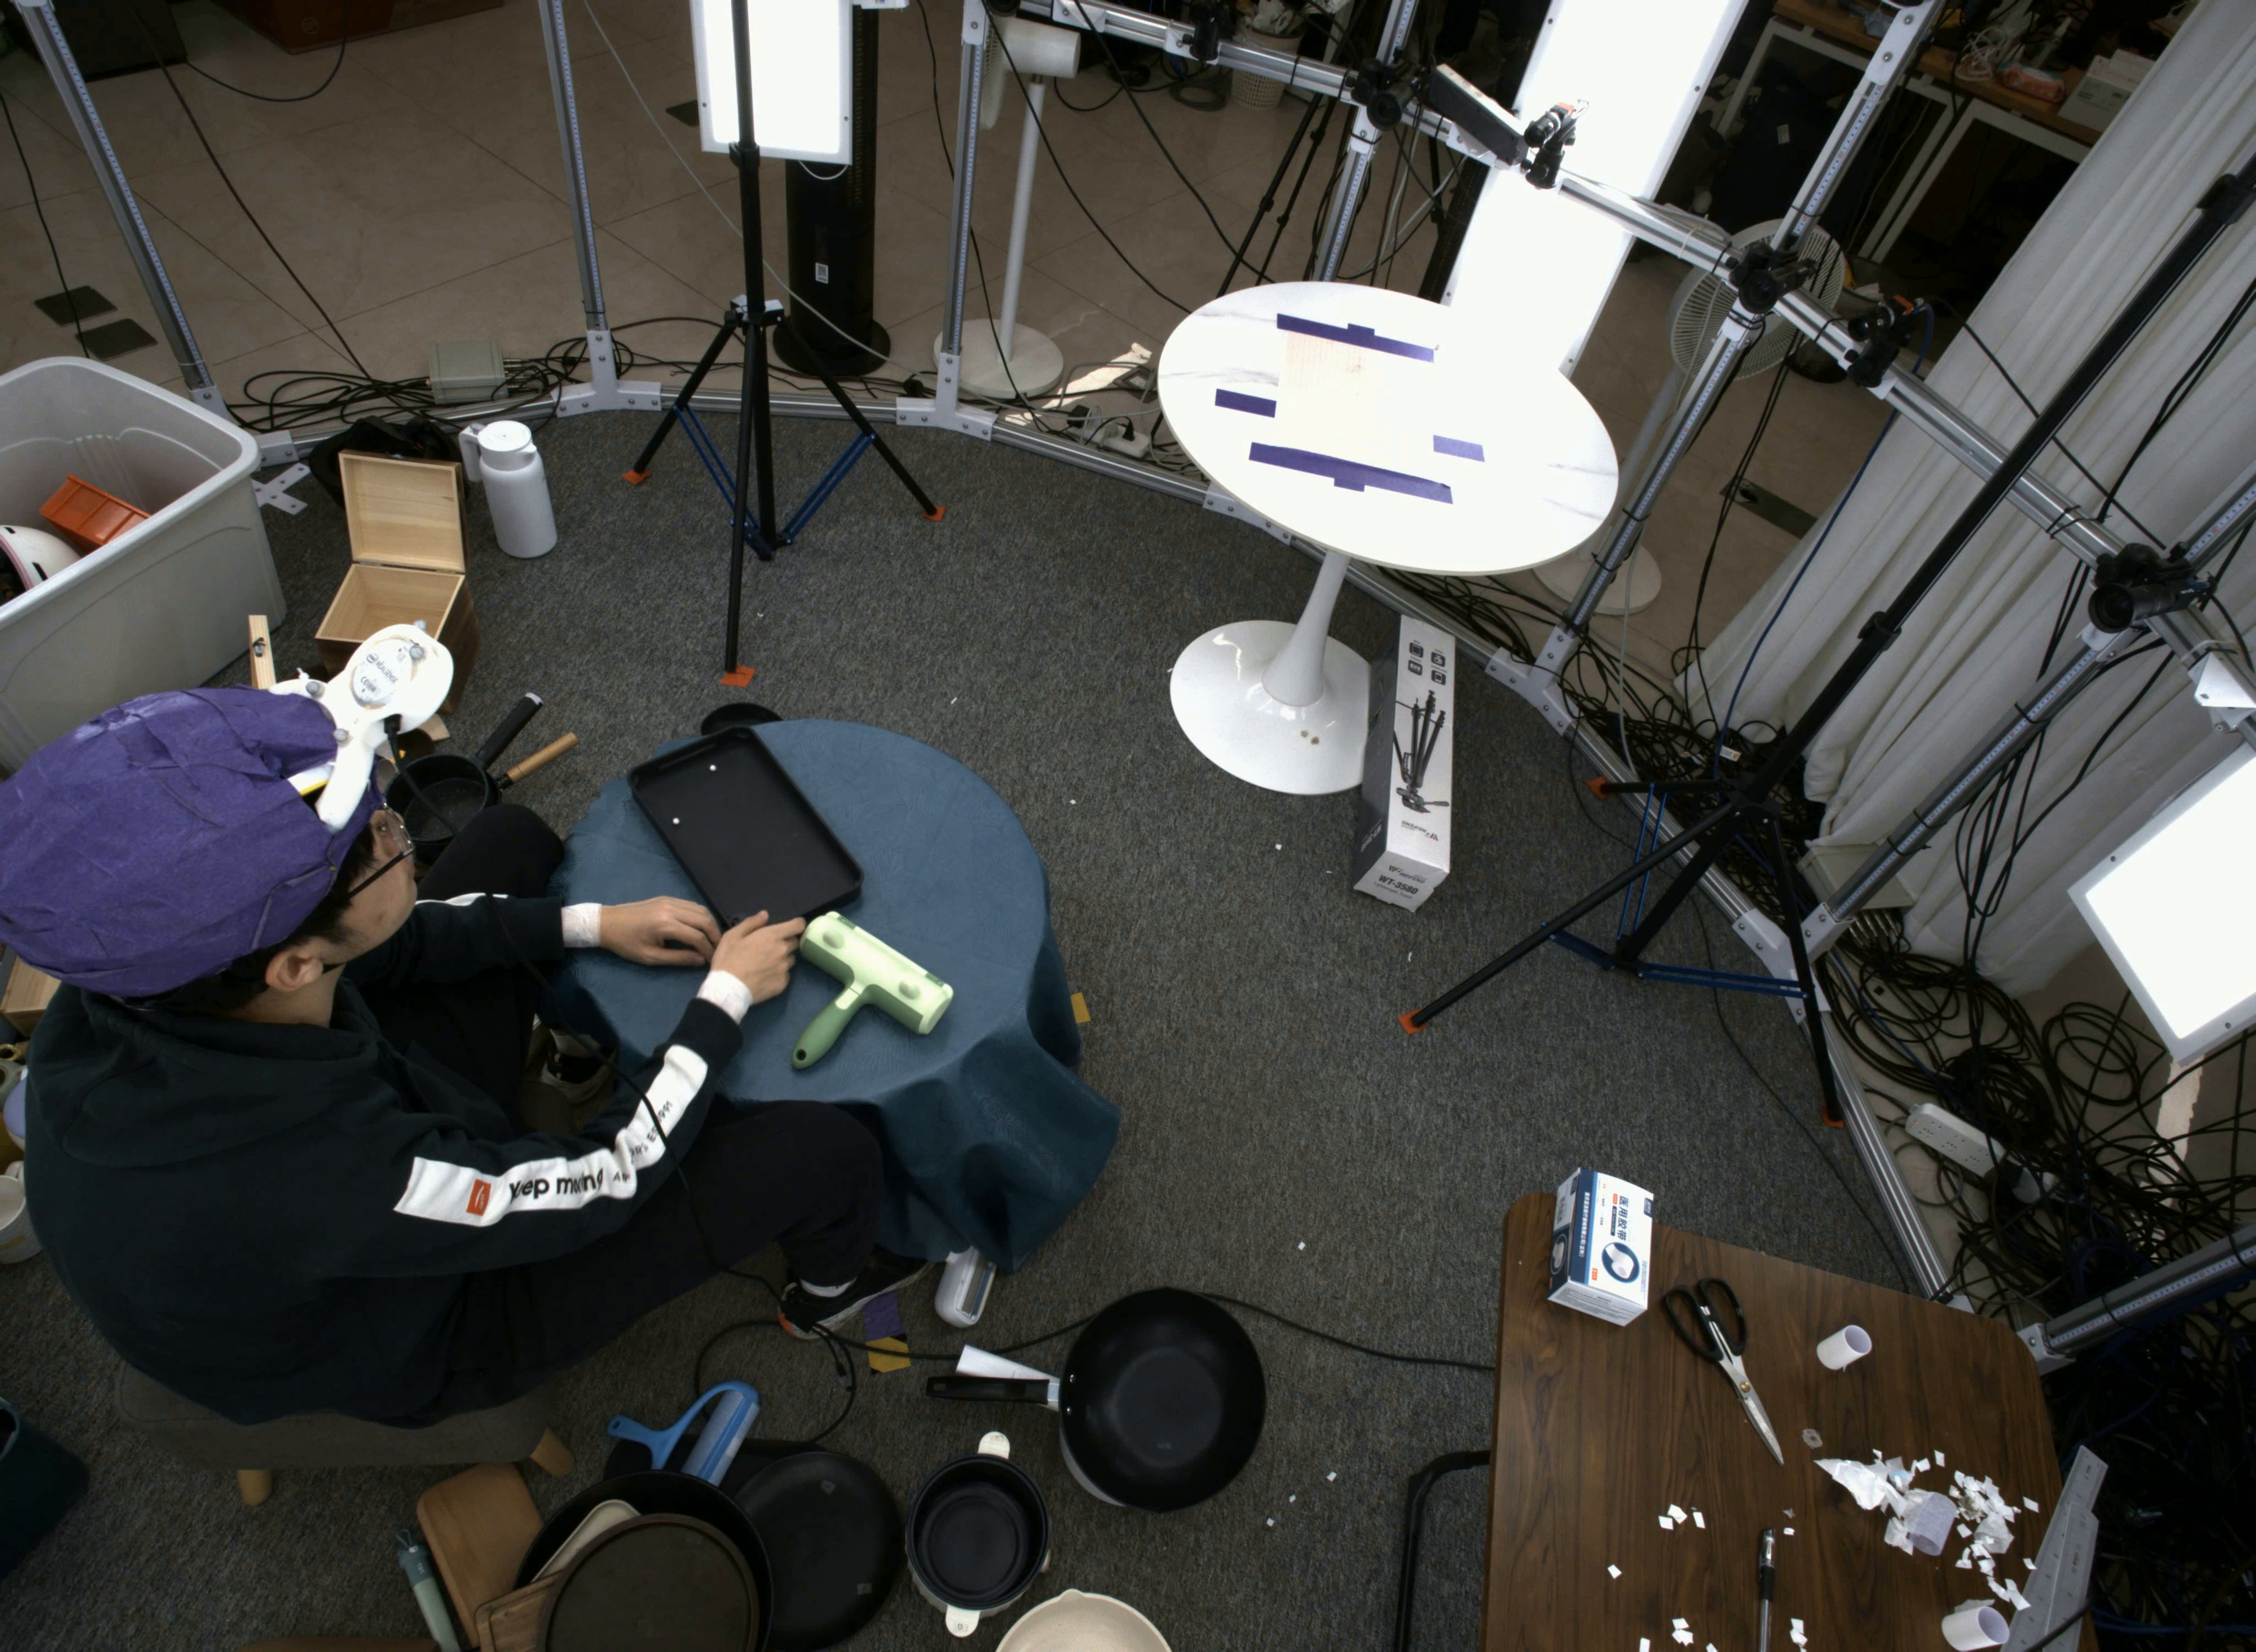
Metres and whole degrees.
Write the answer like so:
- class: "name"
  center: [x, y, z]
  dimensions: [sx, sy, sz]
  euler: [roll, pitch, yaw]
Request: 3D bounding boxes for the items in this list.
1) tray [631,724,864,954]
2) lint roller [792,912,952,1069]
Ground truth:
- class: "tray"
  center: [-0.497, 0.009, 1.680]
  dimensions: [0.185, 0.038, 0.310]
  euler: [-29, 66, -31]
- class: "lint roller"
  center: [-0.338, 0.206, 1.549]
  dimensions: [0.195, 0.084, 0.183]
  euler: [32, 50, 10]
